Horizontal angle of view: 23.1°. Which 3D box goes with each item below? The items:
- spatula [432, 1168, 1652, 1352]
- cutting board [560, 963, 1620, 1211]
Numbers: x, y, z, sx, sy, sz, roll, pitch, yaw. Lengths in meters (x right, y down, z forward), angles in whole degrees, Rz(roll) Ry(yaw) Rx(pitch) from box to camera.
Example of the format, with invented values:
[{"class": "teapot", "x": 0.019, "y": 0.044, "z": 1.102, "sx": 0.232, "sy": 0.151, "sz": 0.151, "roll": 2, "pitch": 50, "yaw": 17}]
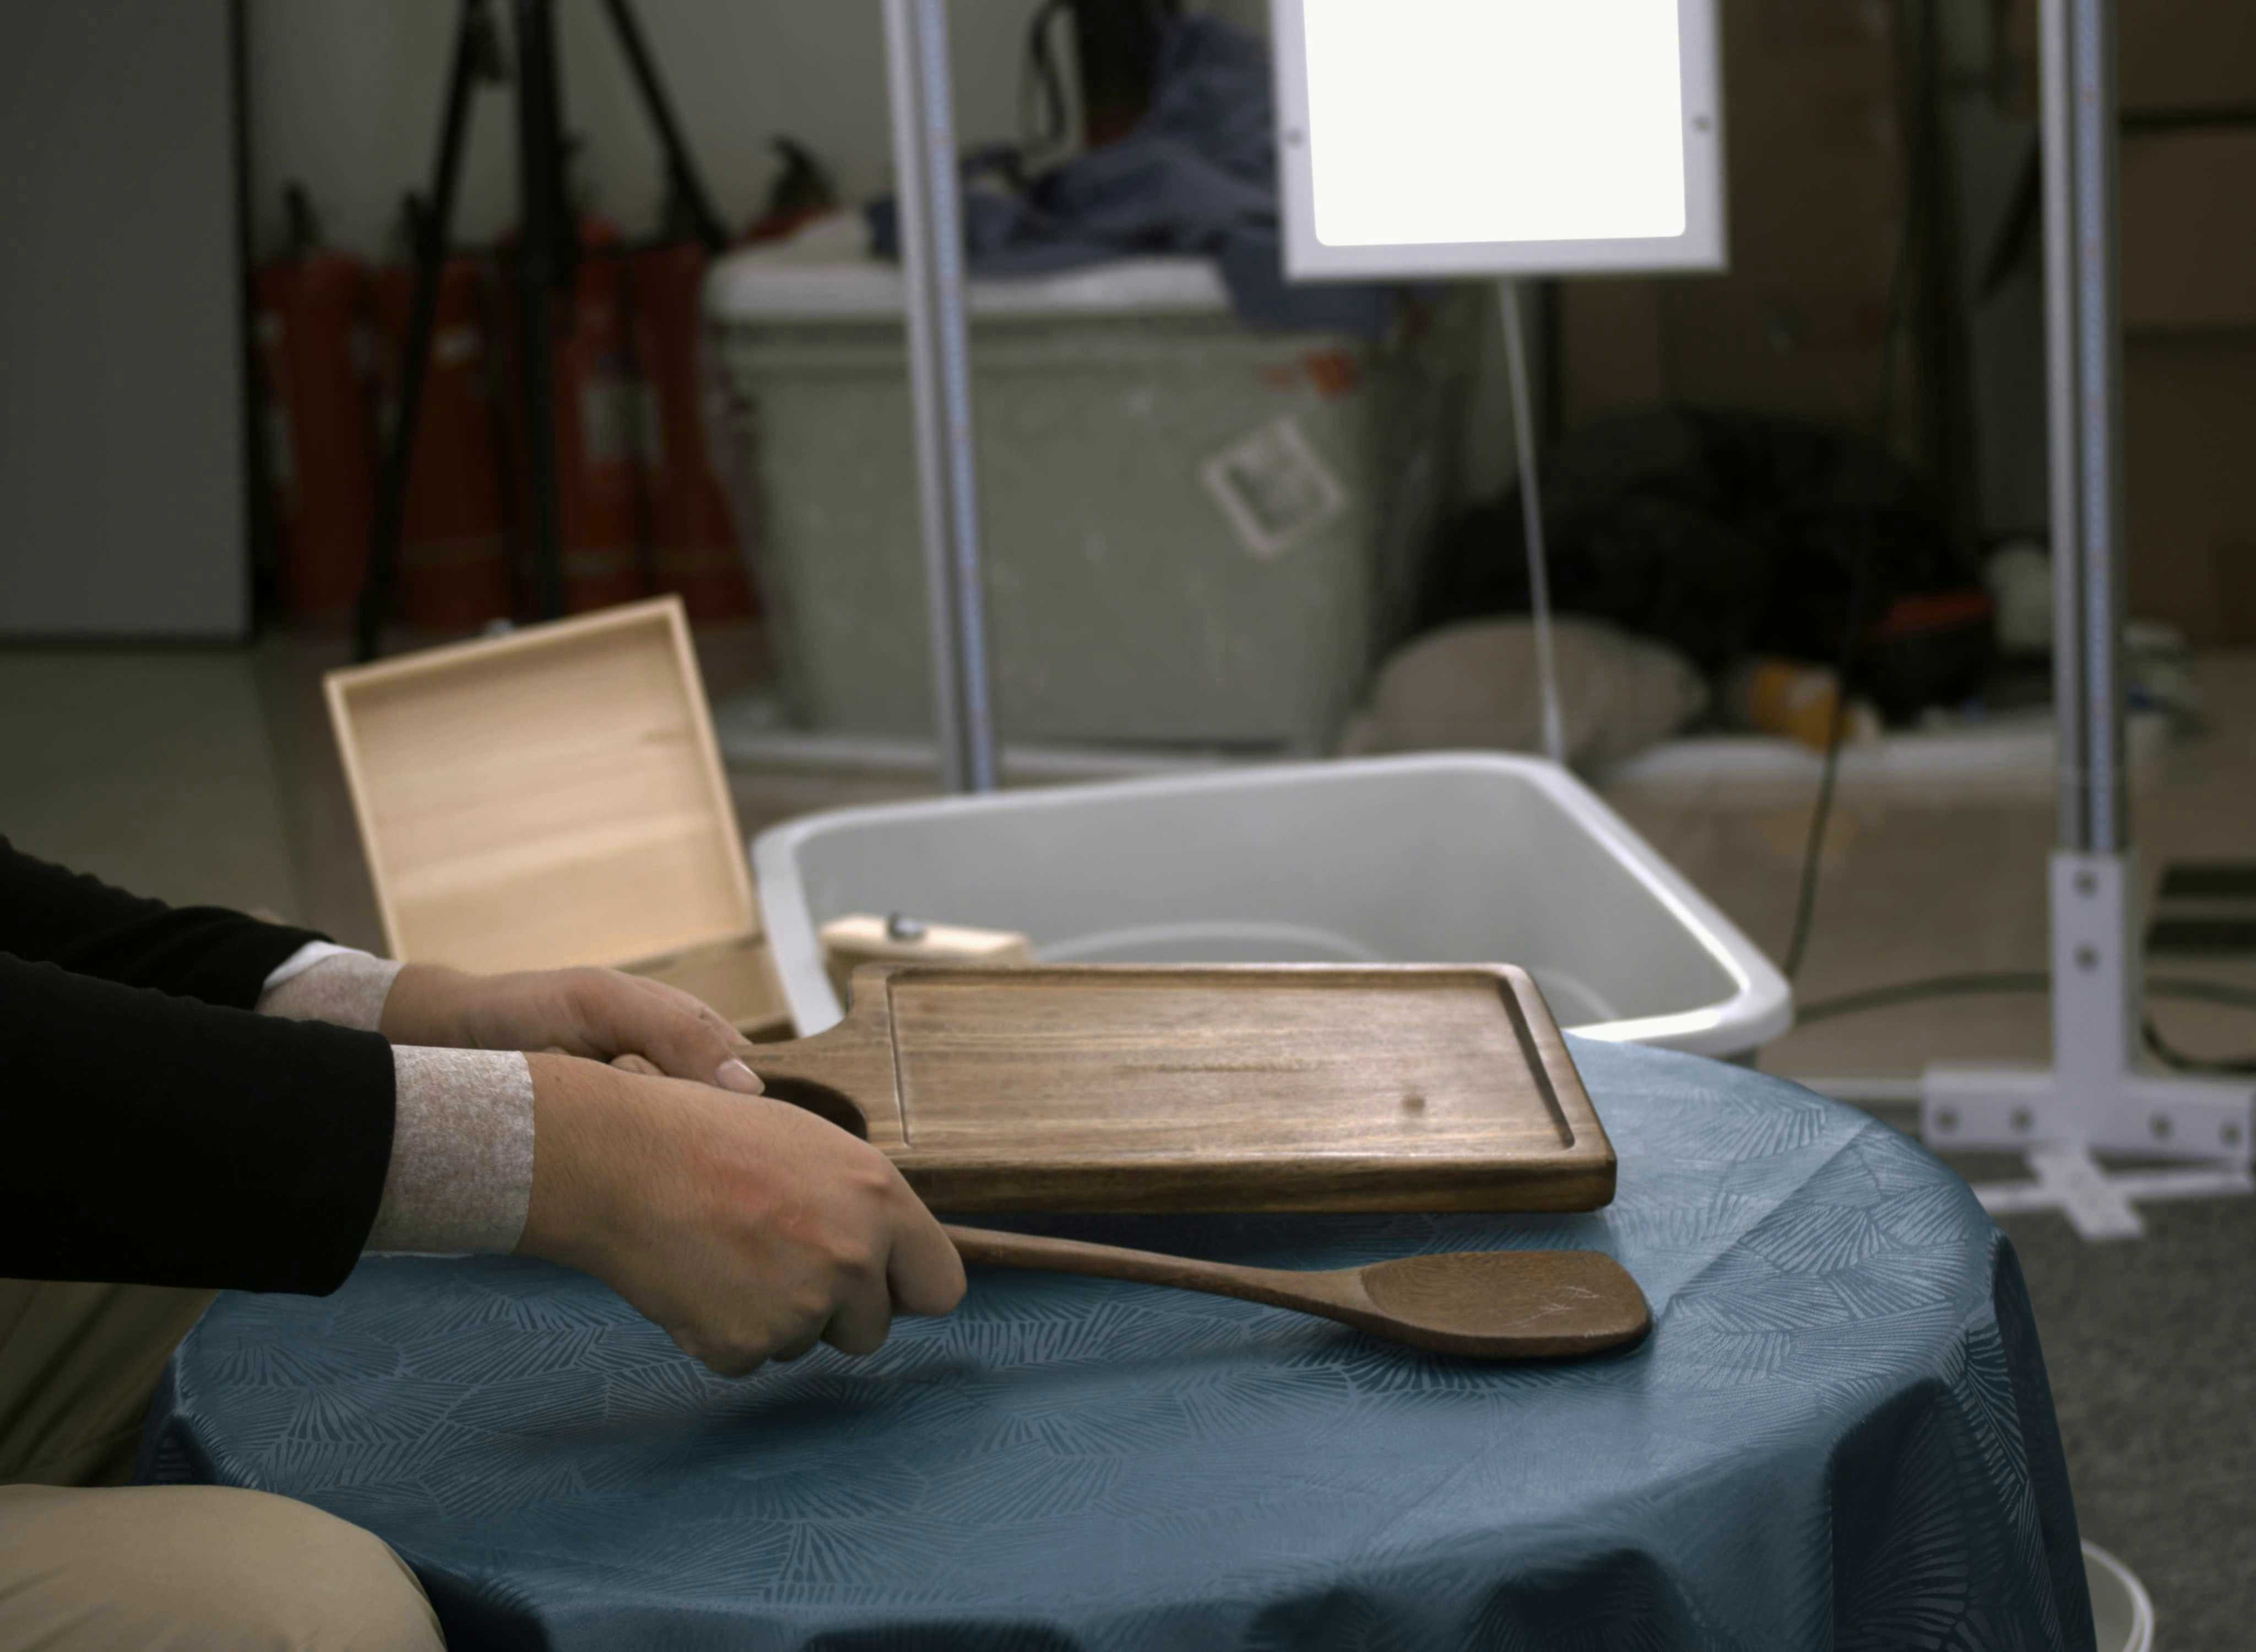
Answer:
[{"class": "spatula", "x": -0.027, "y": 0.133, "z": 1.730, "sx": 0.385, "sy": 0.016, "sz": 0.096, "roll": 6, "pitch": 11, "yaw": 0}, {"class": "cutting board", "x": -0.019, "y": 0.087, "z": 1.896, "sx": 0.350, "sy": 0.023, "sz": 0.201, "roll": 0, "pitch": 18, "yaw": -4}]
